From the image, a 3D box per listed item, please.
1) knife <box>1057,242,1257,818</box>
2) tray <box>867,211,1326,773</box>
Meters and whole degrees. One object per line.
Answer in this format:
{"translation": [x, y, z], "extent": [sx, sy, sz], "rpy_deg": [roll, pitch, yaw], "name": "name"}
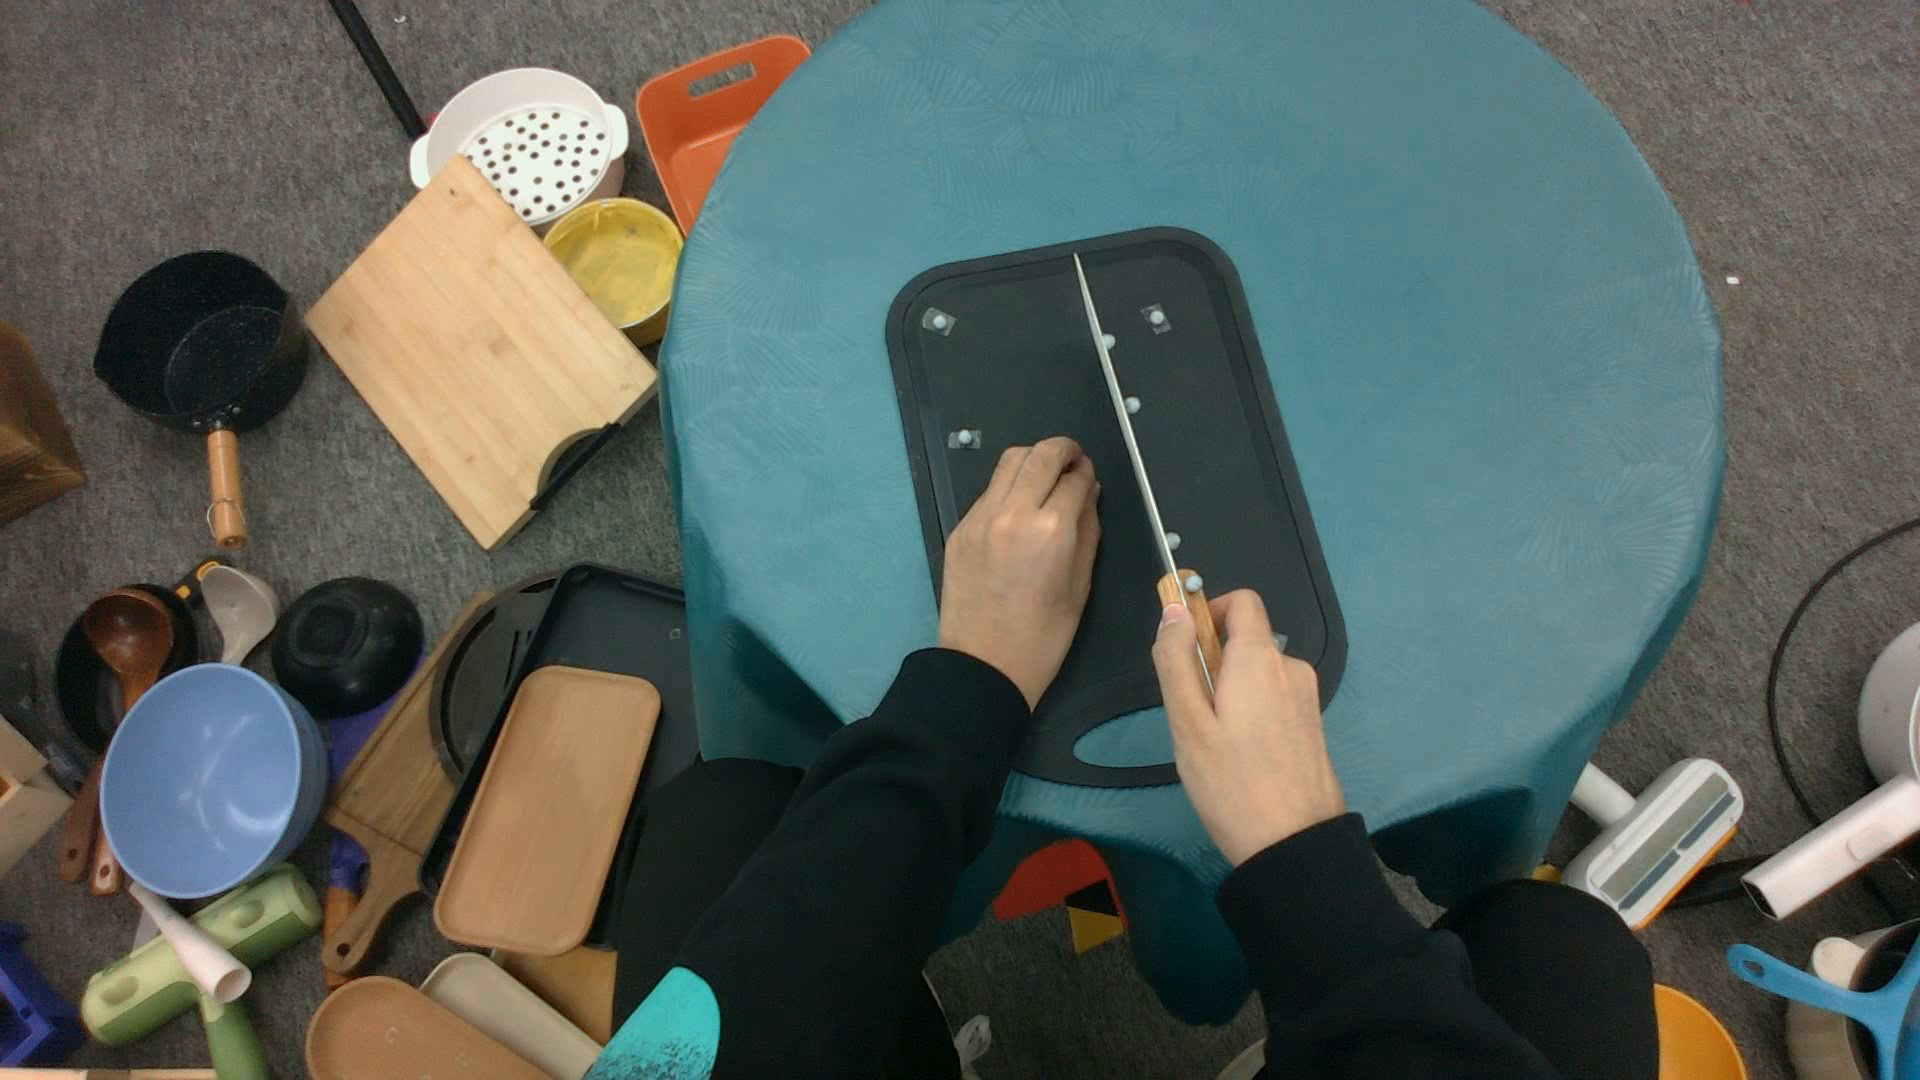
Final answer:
{"translation": [0.092, -0.006, 0.687], "extent": [0.021, 0.093, 0.306], "rpy_deg": [-16, 67, 4], "name": "knife"}
{"translation": [0.072, -0.035, 0.752], "extent": [0.211, 0.010, 0.326], "rpy_deg": [-10, 69, -3], "name": "tray"}
